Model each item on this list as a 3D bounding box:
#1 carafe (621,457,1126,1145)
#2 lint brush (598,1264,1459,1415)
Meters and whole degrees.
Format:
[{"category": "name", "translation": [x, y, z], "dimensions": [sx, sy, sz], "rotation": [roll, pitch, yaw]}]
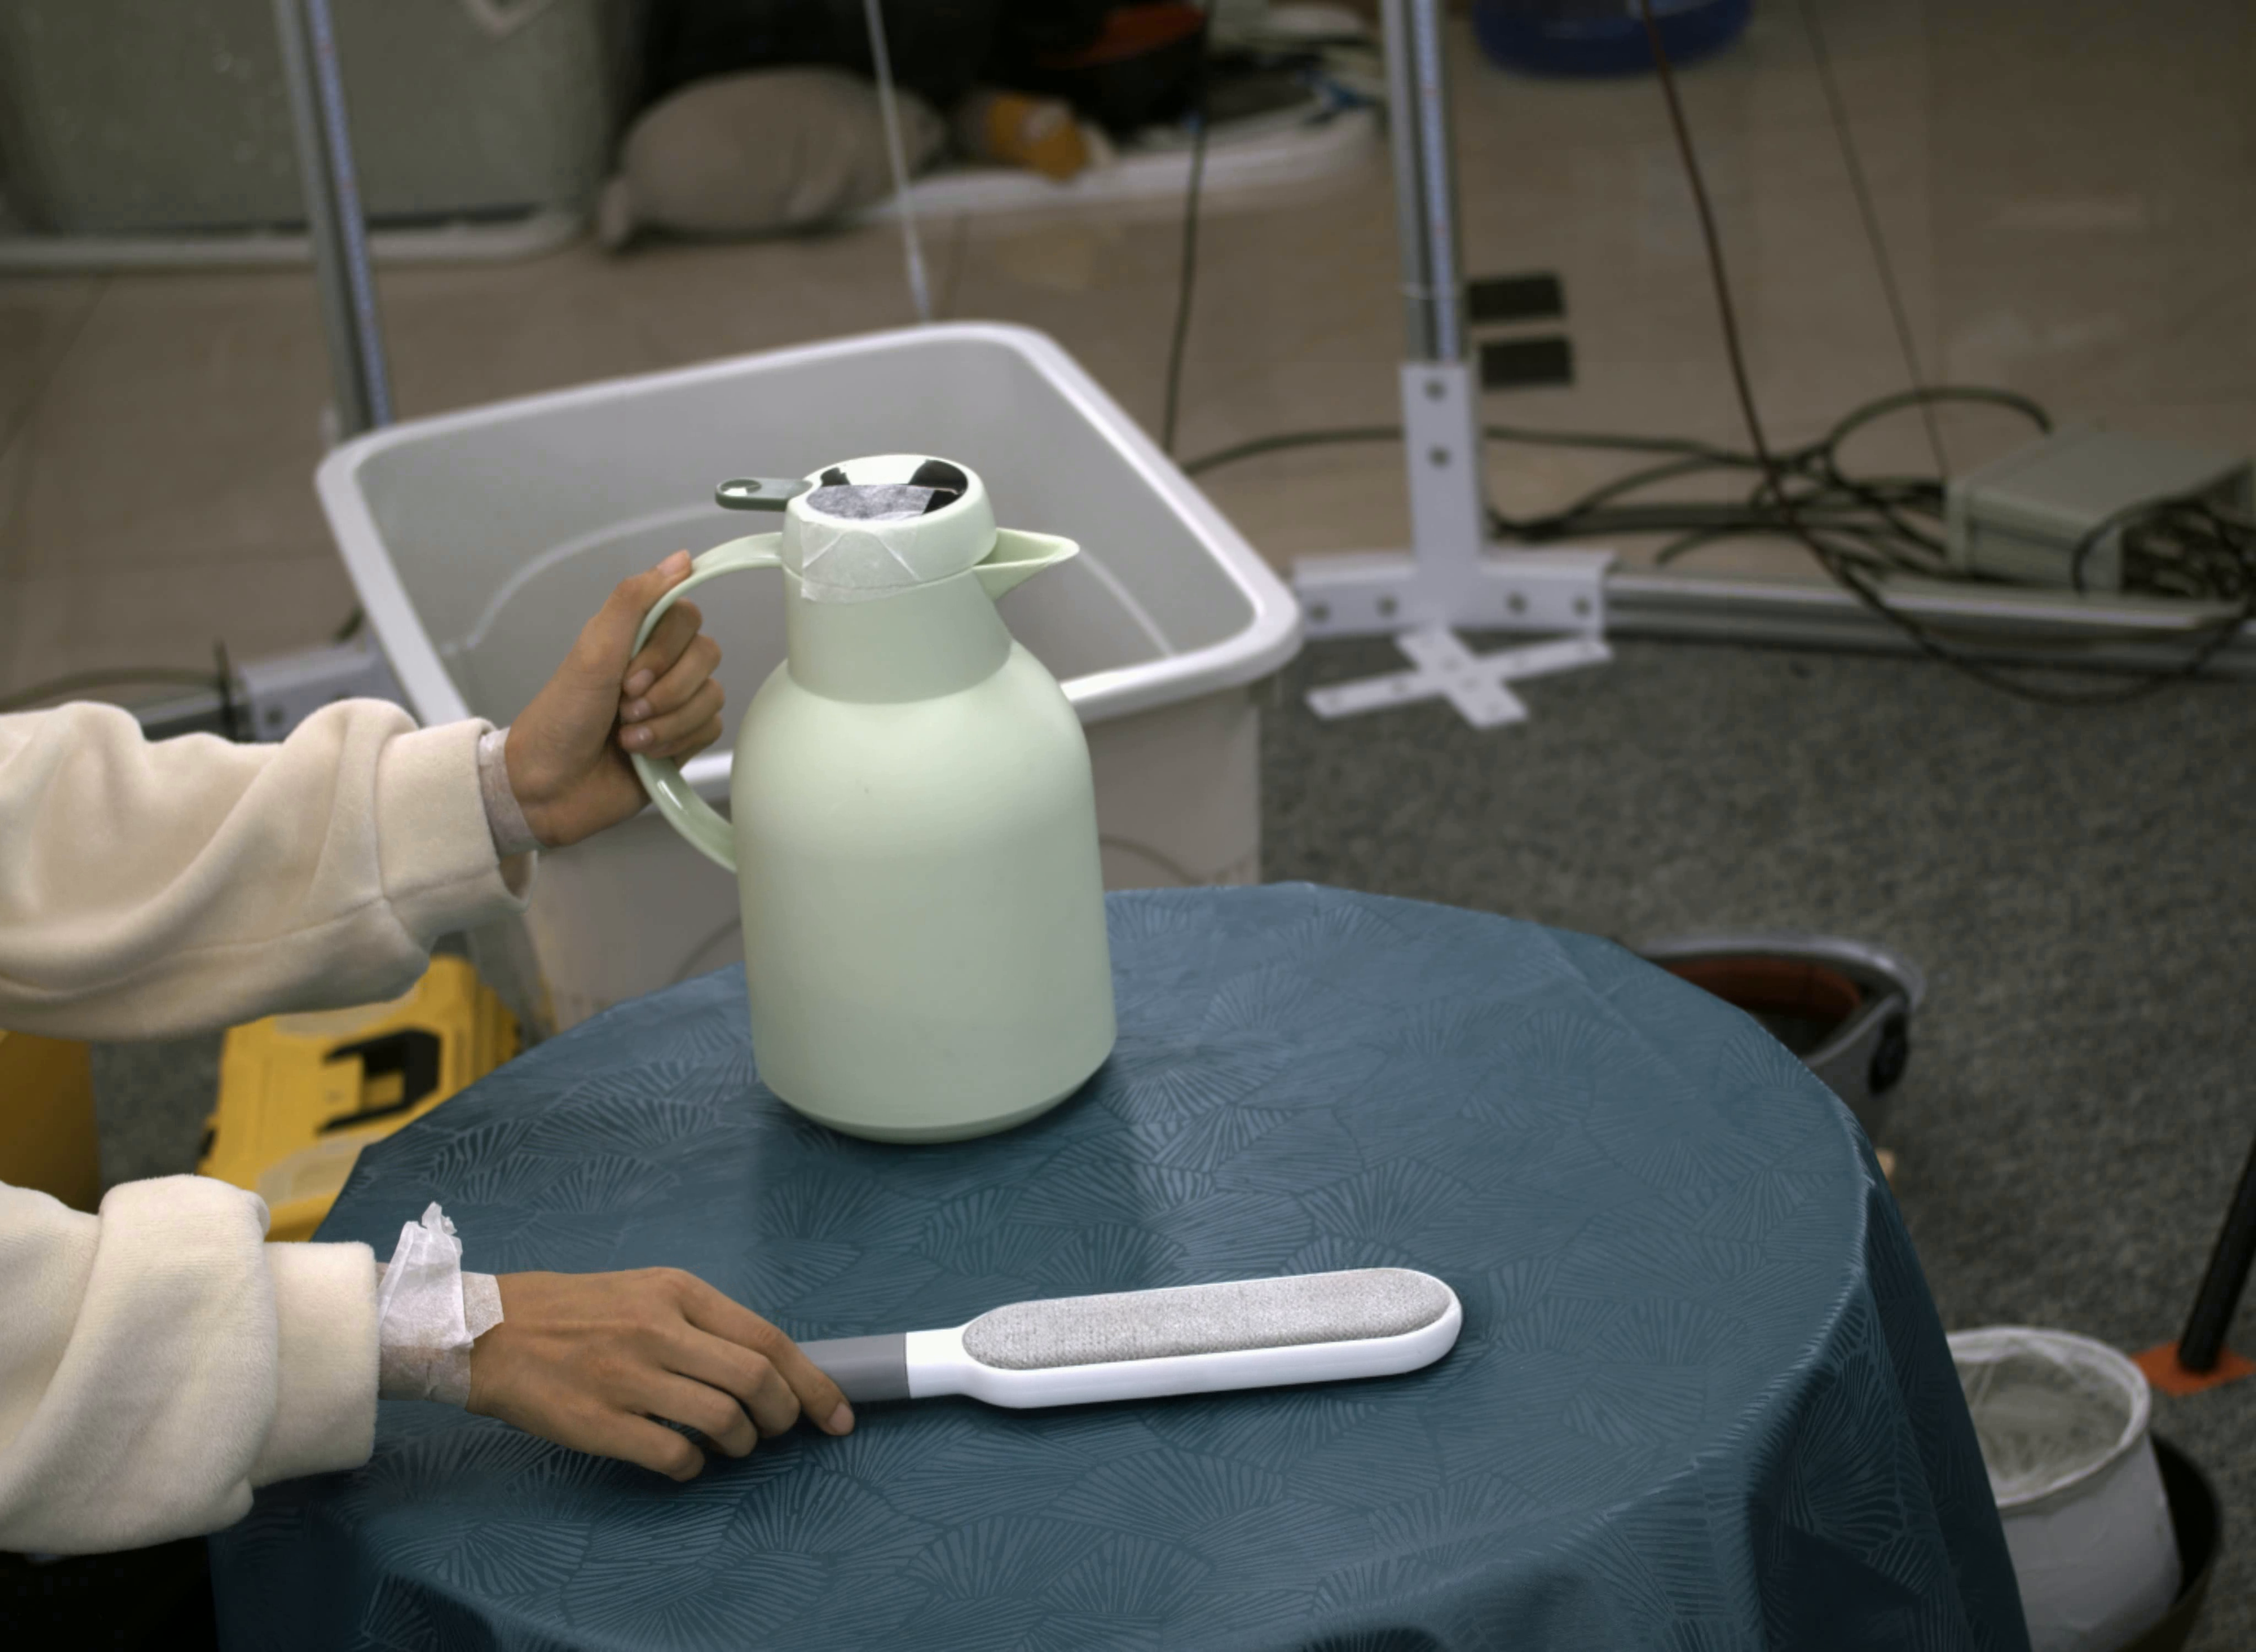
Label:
[{"category": "carafe", "translation": [-0.097, -0.015, 2.197], "dimensions": [0.186, 0.261, 0.142], "rotation": [-2, 28, 13]}, {"category": "lint brush", "translation": [-0.035, 0.185, 2.020], "dimensions": [0.308, 0.021, 0.059], "rotation": [-5, 26, 0]}]
